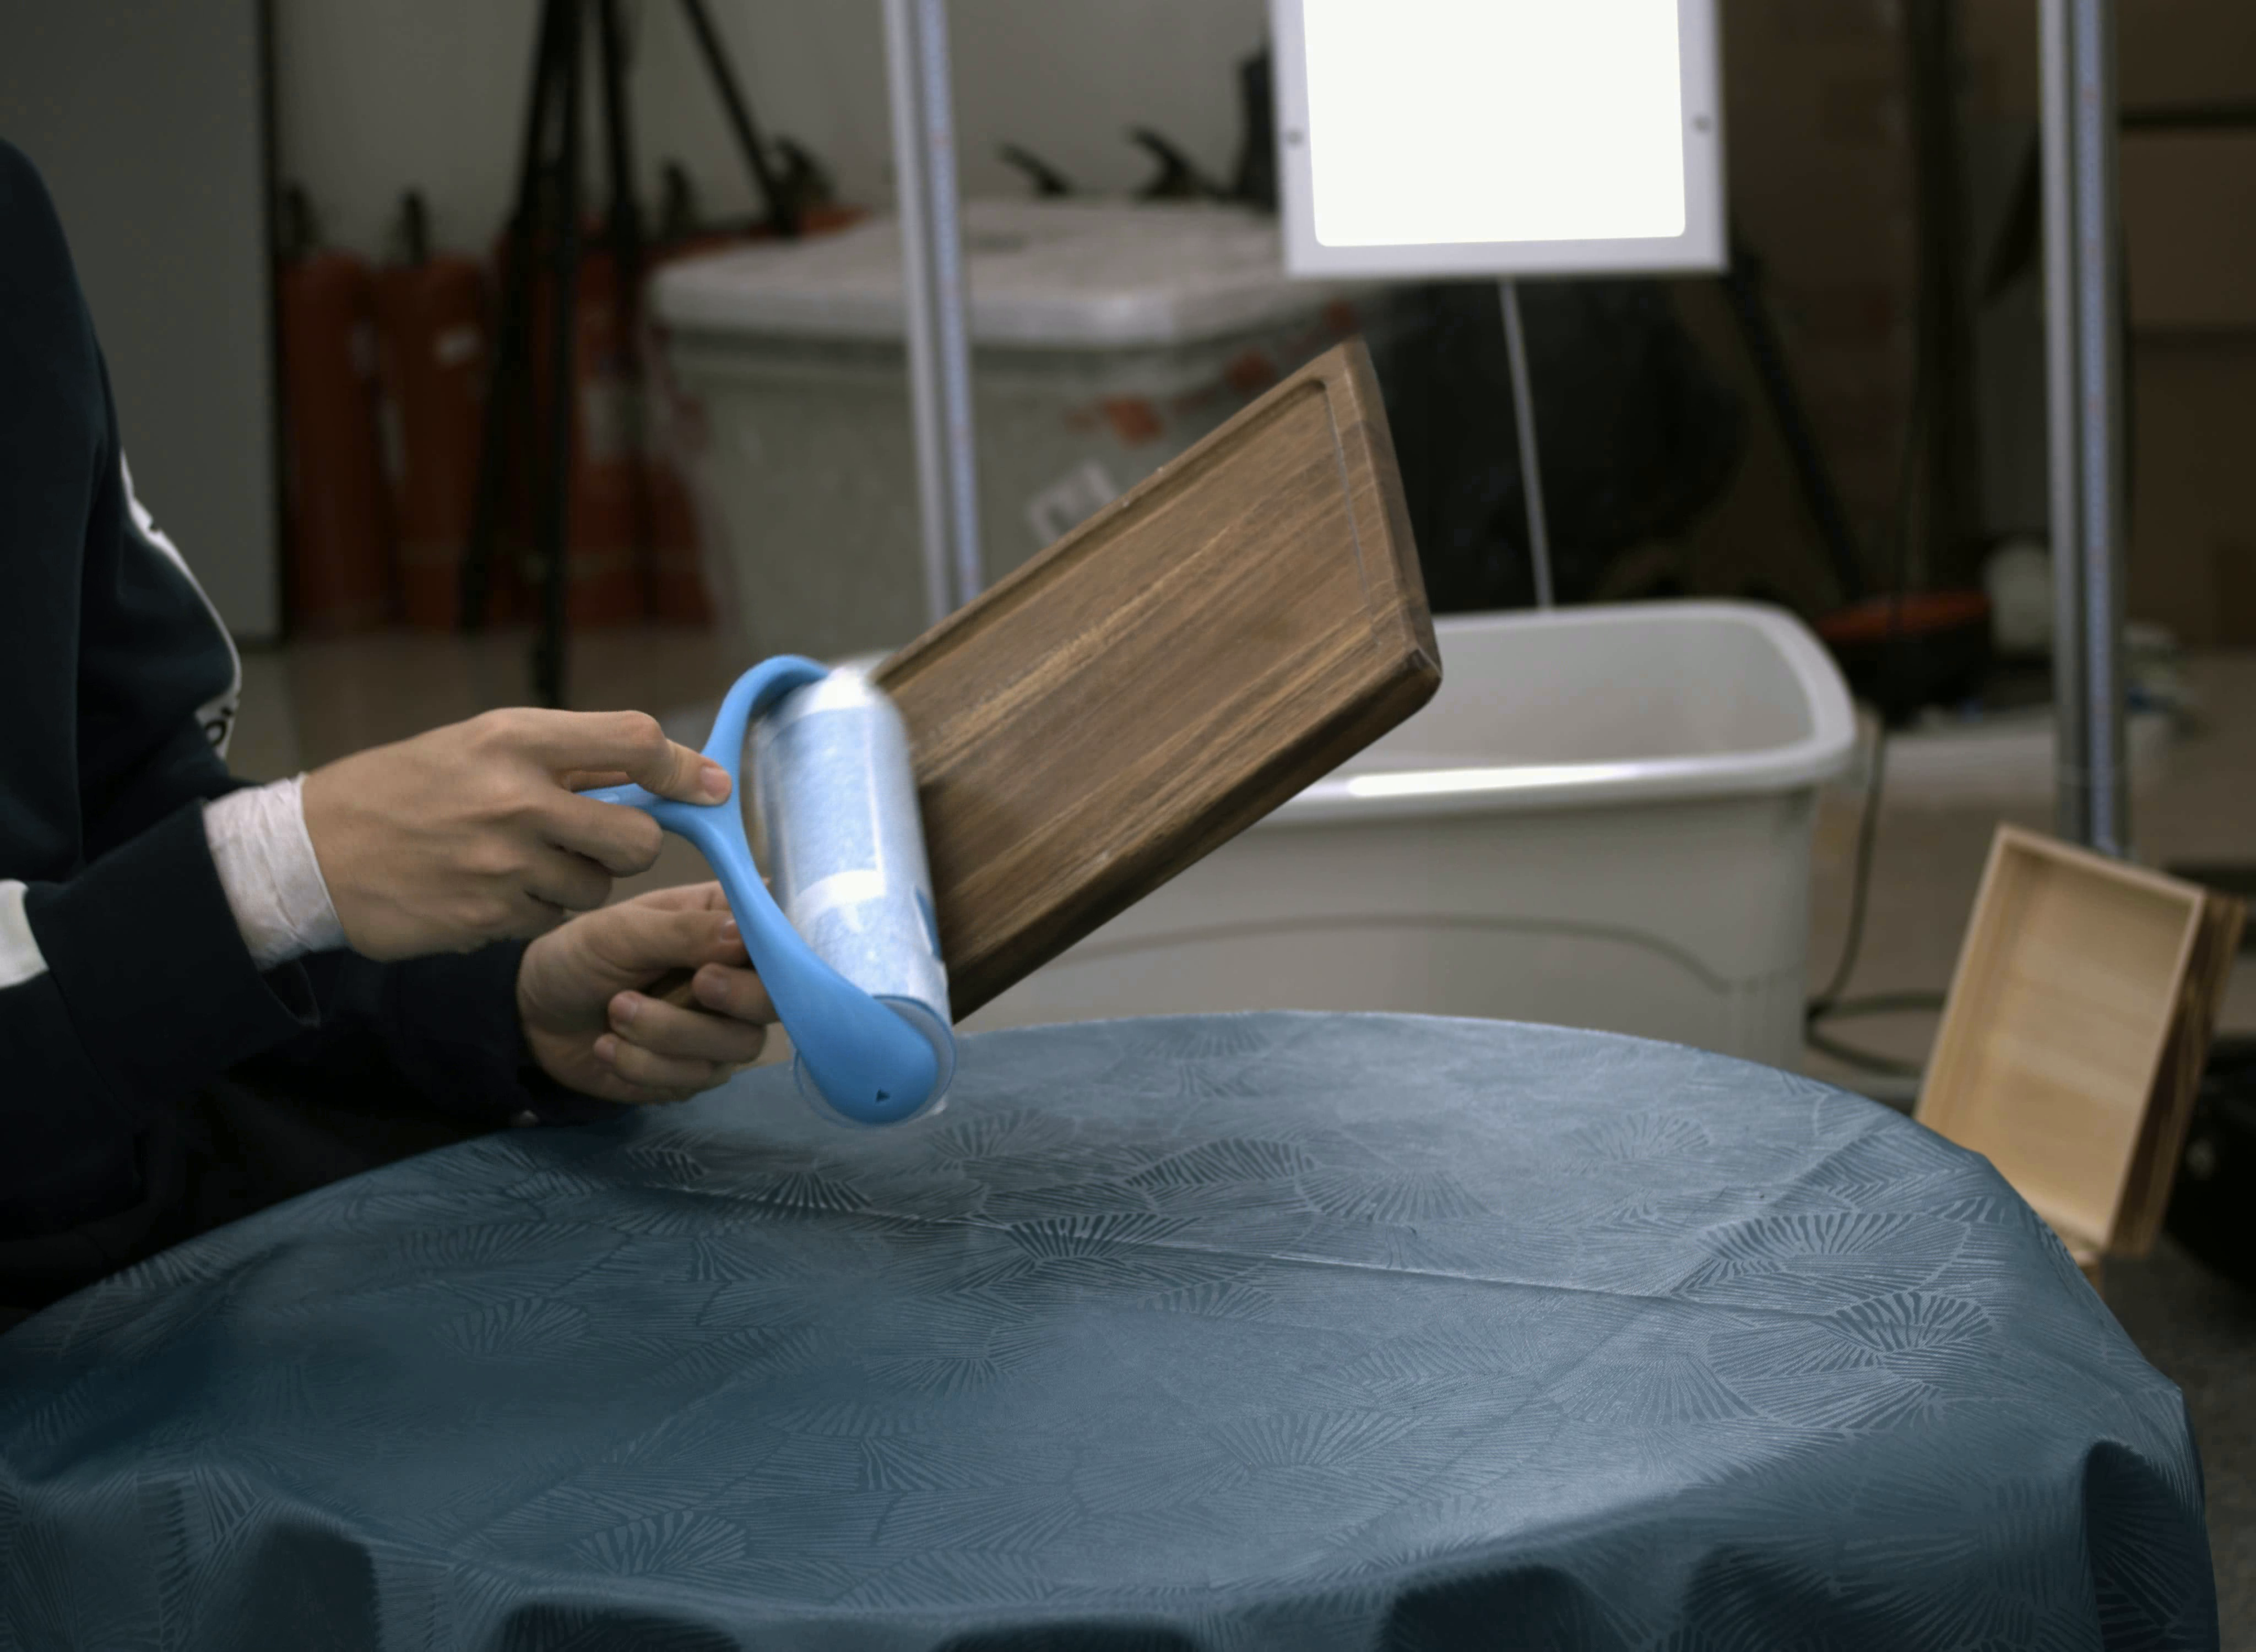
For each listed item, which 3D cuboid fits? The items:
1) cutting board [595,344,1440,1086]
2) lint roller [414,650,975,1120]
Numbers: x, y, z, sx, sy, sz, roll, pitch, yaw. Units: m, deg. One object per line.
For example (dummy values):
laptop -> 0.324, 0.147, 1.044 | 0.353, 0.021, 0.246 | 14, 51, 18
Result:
cutting board -> -0.047, -0.015, 1.904 | 0.357, 0.023, 0.201 | -35, 32, 20
lint roller -> -0.145, 0.016, 1.838 | 0.178, 0.068, 0.229 | 3, 34, -12
